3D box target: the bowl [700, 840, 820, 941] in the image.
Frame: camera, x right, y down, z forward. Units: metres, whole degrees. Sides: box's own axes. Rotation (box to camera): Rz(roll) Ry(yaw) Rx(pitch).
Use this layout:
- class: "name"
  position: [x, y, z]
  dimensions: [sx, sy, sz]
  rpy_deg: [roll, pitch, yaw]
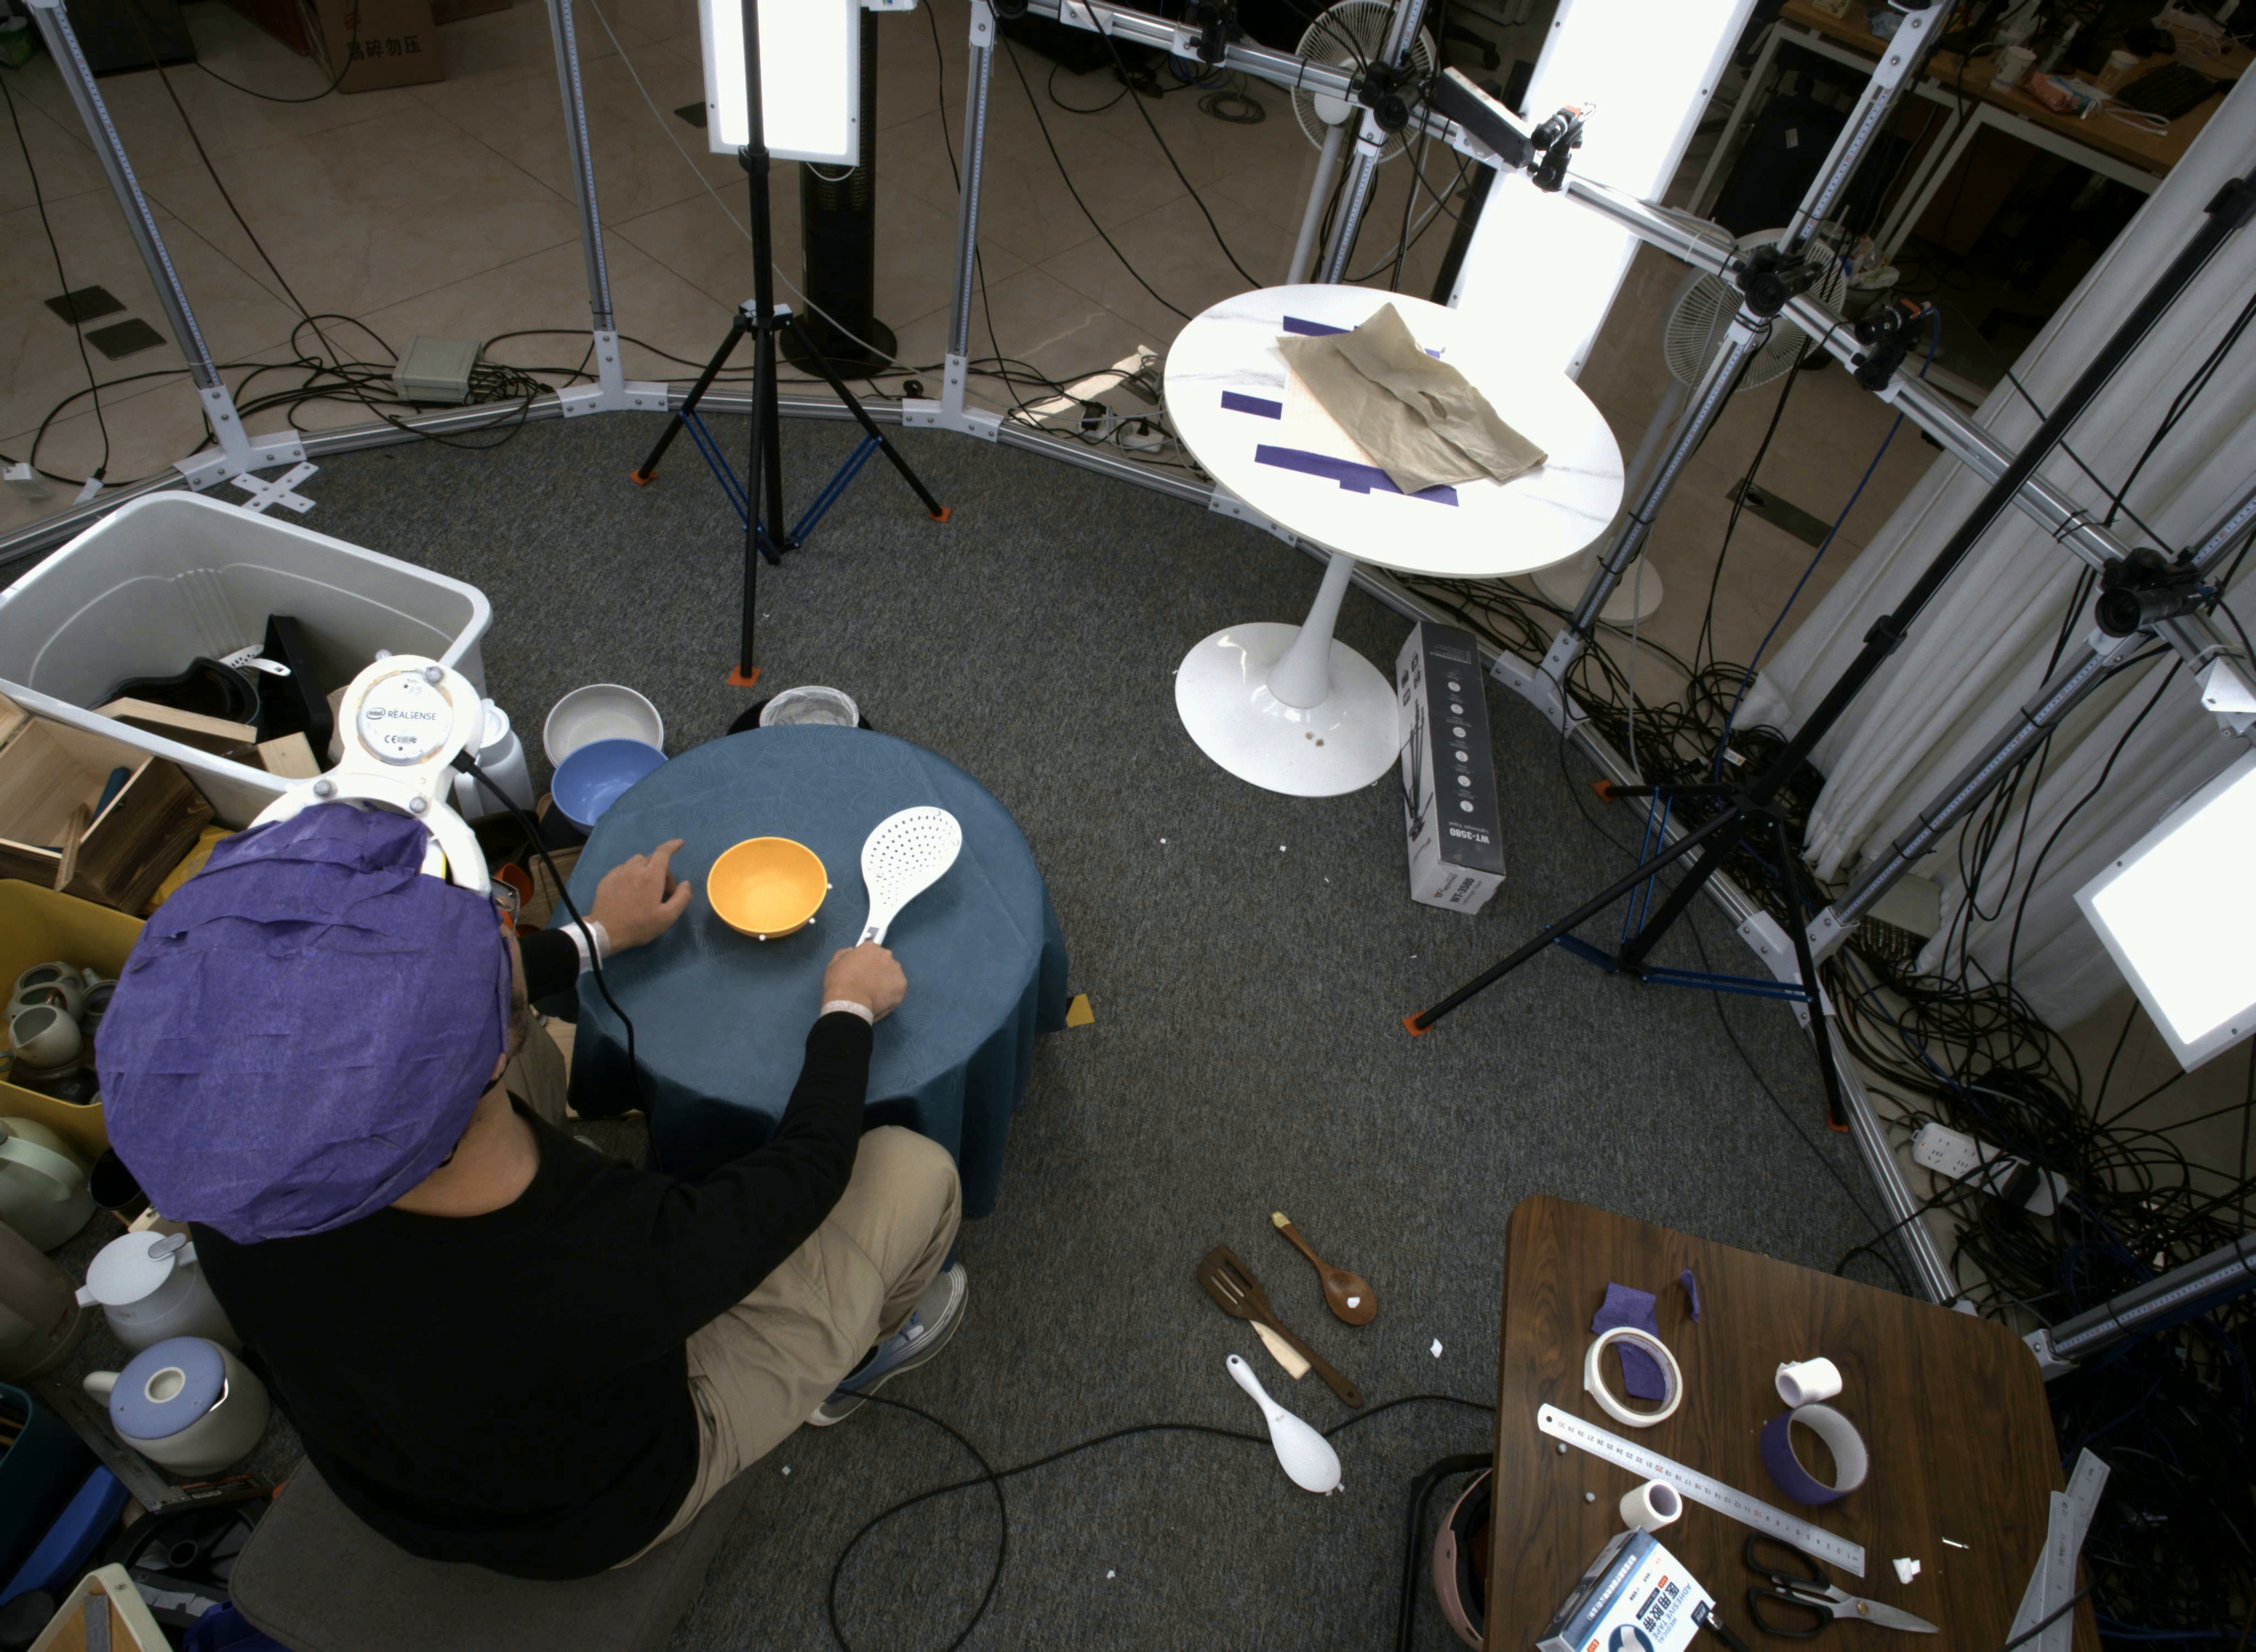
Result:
- class: "bowl"
  position: [-0.455, 0.090, 1.607]
  dimensions: [0.145, 0.061, 0.142]
  rpy_deg: [8, 50, -8]

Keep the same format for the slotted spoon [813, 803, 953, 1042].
- class: "slotted spoon"
  position: [-0.315, 0.112, 1.626]
  dimensions: [0.132, 0.047, 0.346]
  rpy_deg: [3, 49, 20]
